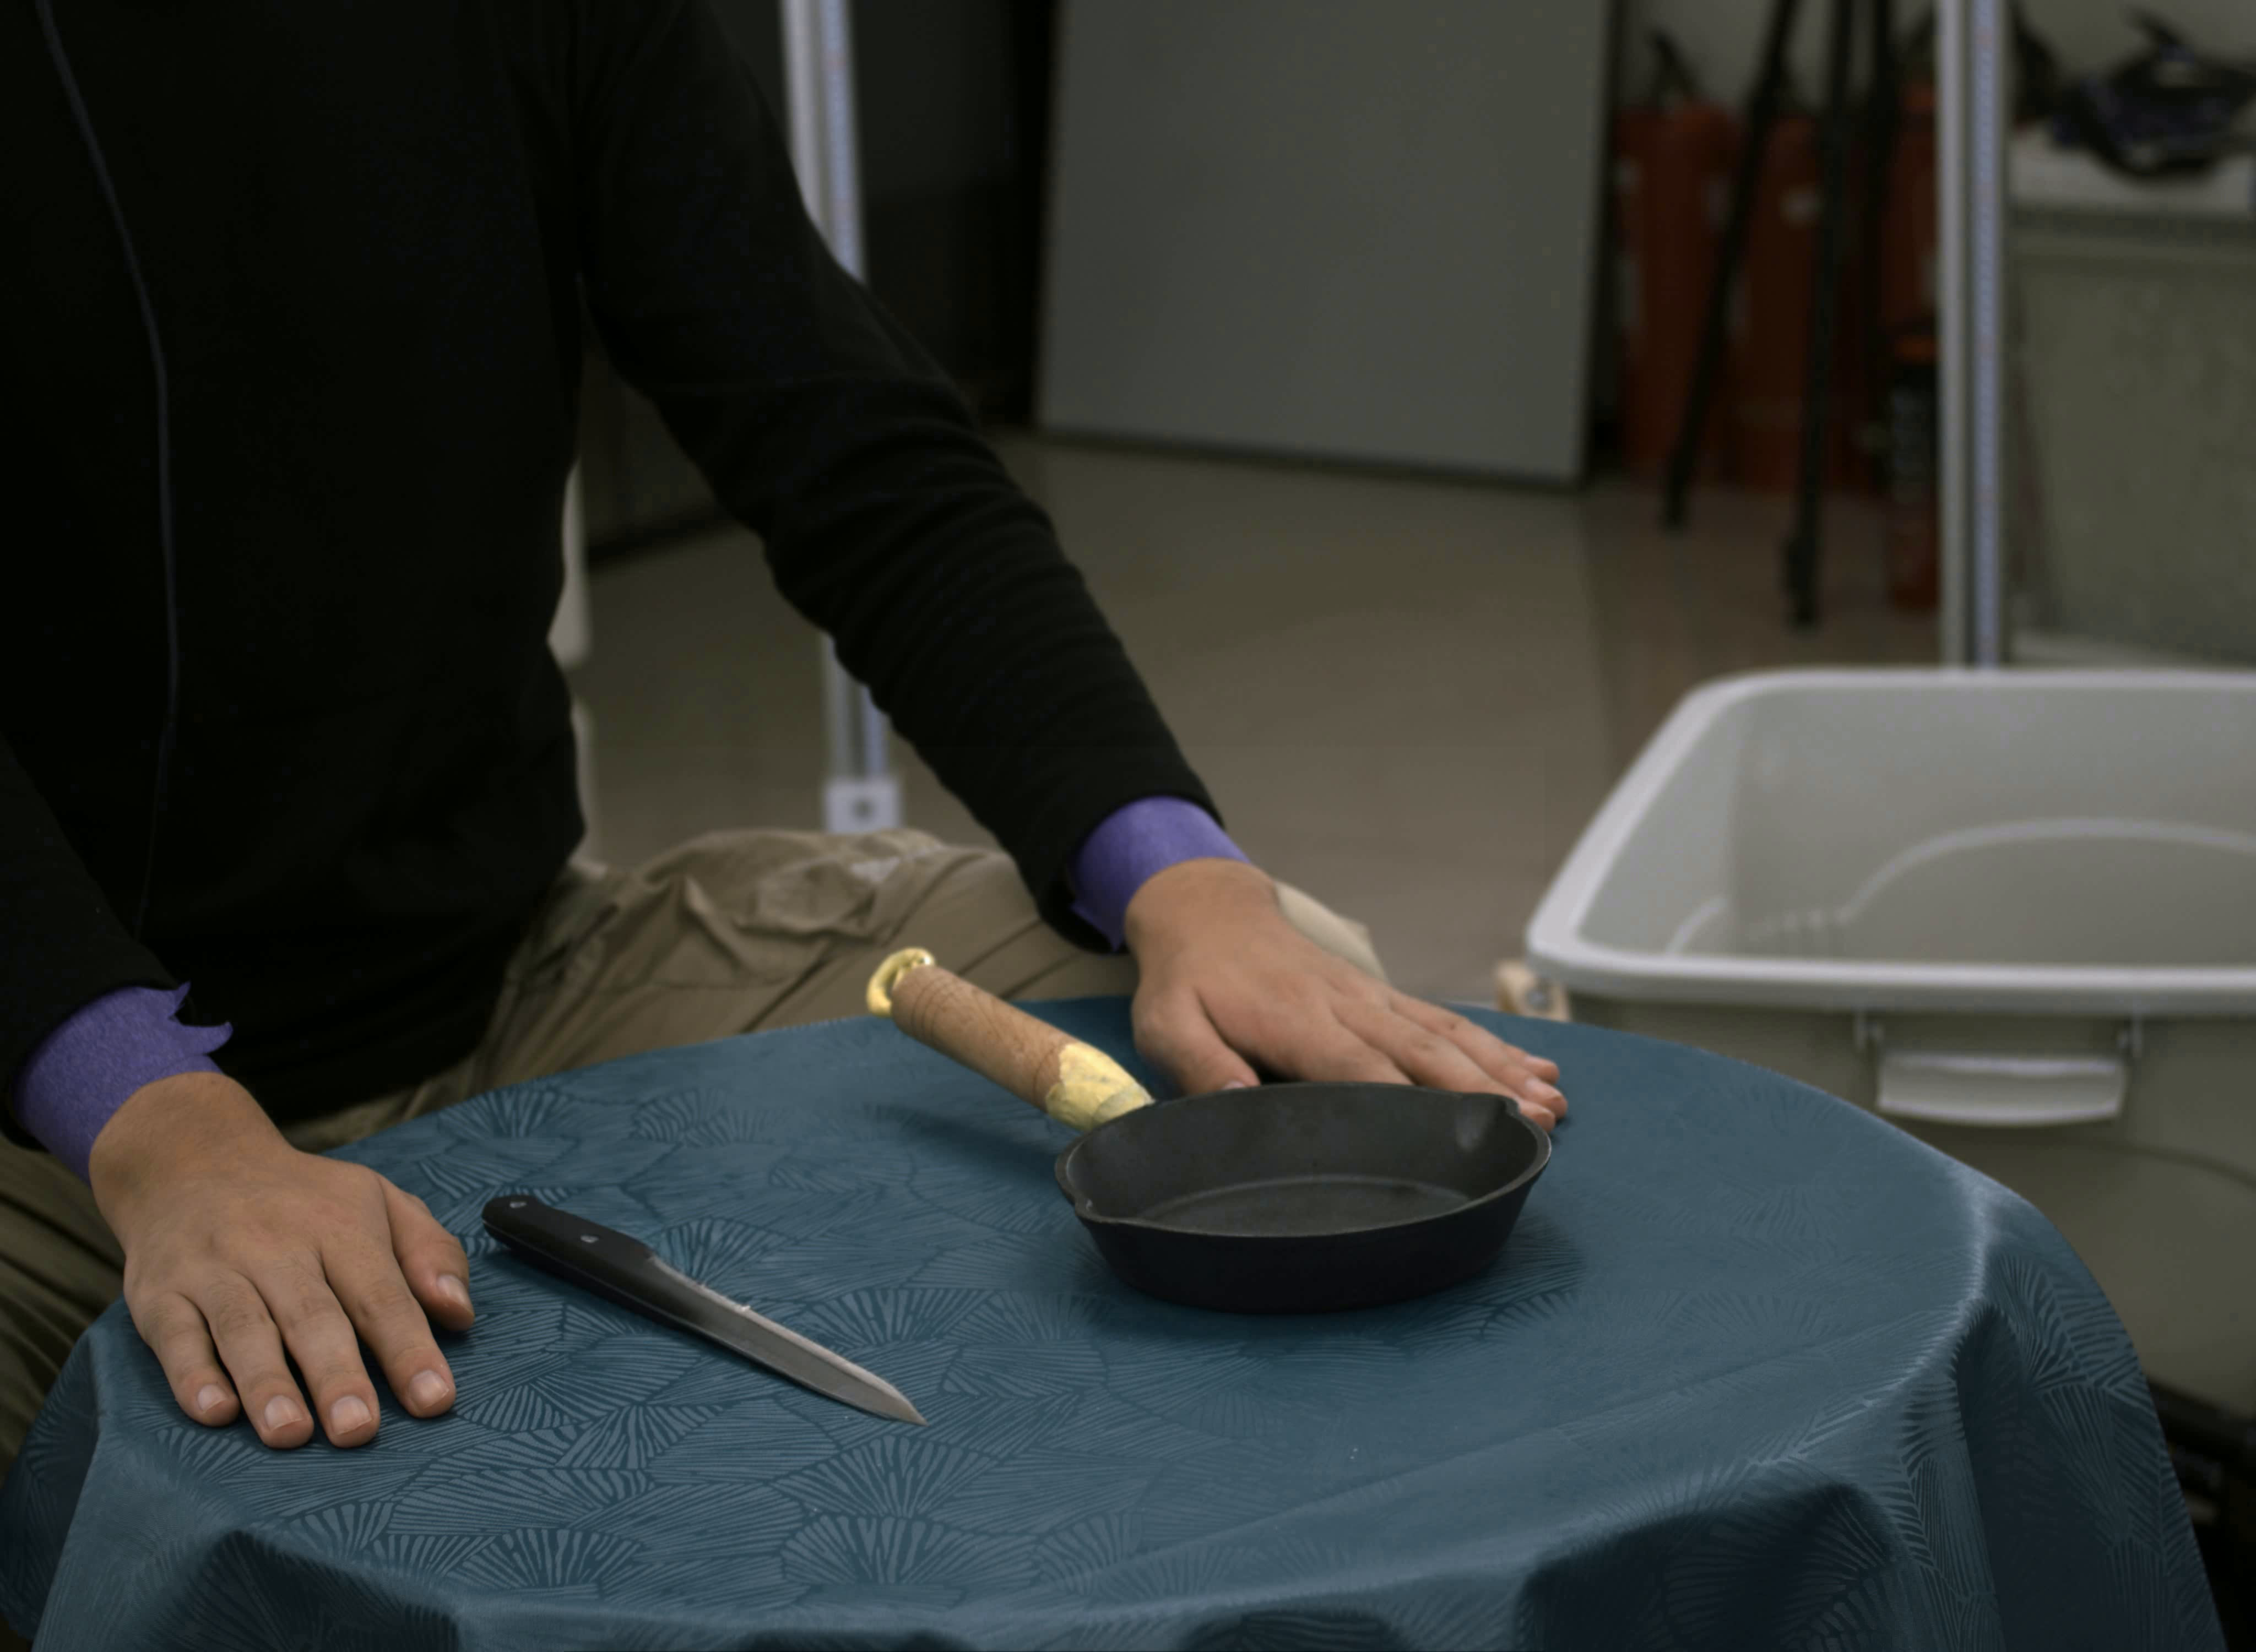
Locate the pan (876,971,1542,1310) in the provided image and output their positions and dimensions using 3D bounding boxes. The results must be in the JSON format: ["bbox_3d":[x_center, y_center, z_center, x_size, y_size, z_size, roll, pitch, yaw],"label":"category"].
[{"bbox_3d":[0.009,0.098,1.768,0.165,0.050,0.327,-12,15,-31],"label":"pan"}]

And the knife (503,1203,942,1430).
[{"bbox_3d":[-0.128,0.153,1.666,0.024,0.016,0.241,-13,19,-34],"label":"knife"}]
